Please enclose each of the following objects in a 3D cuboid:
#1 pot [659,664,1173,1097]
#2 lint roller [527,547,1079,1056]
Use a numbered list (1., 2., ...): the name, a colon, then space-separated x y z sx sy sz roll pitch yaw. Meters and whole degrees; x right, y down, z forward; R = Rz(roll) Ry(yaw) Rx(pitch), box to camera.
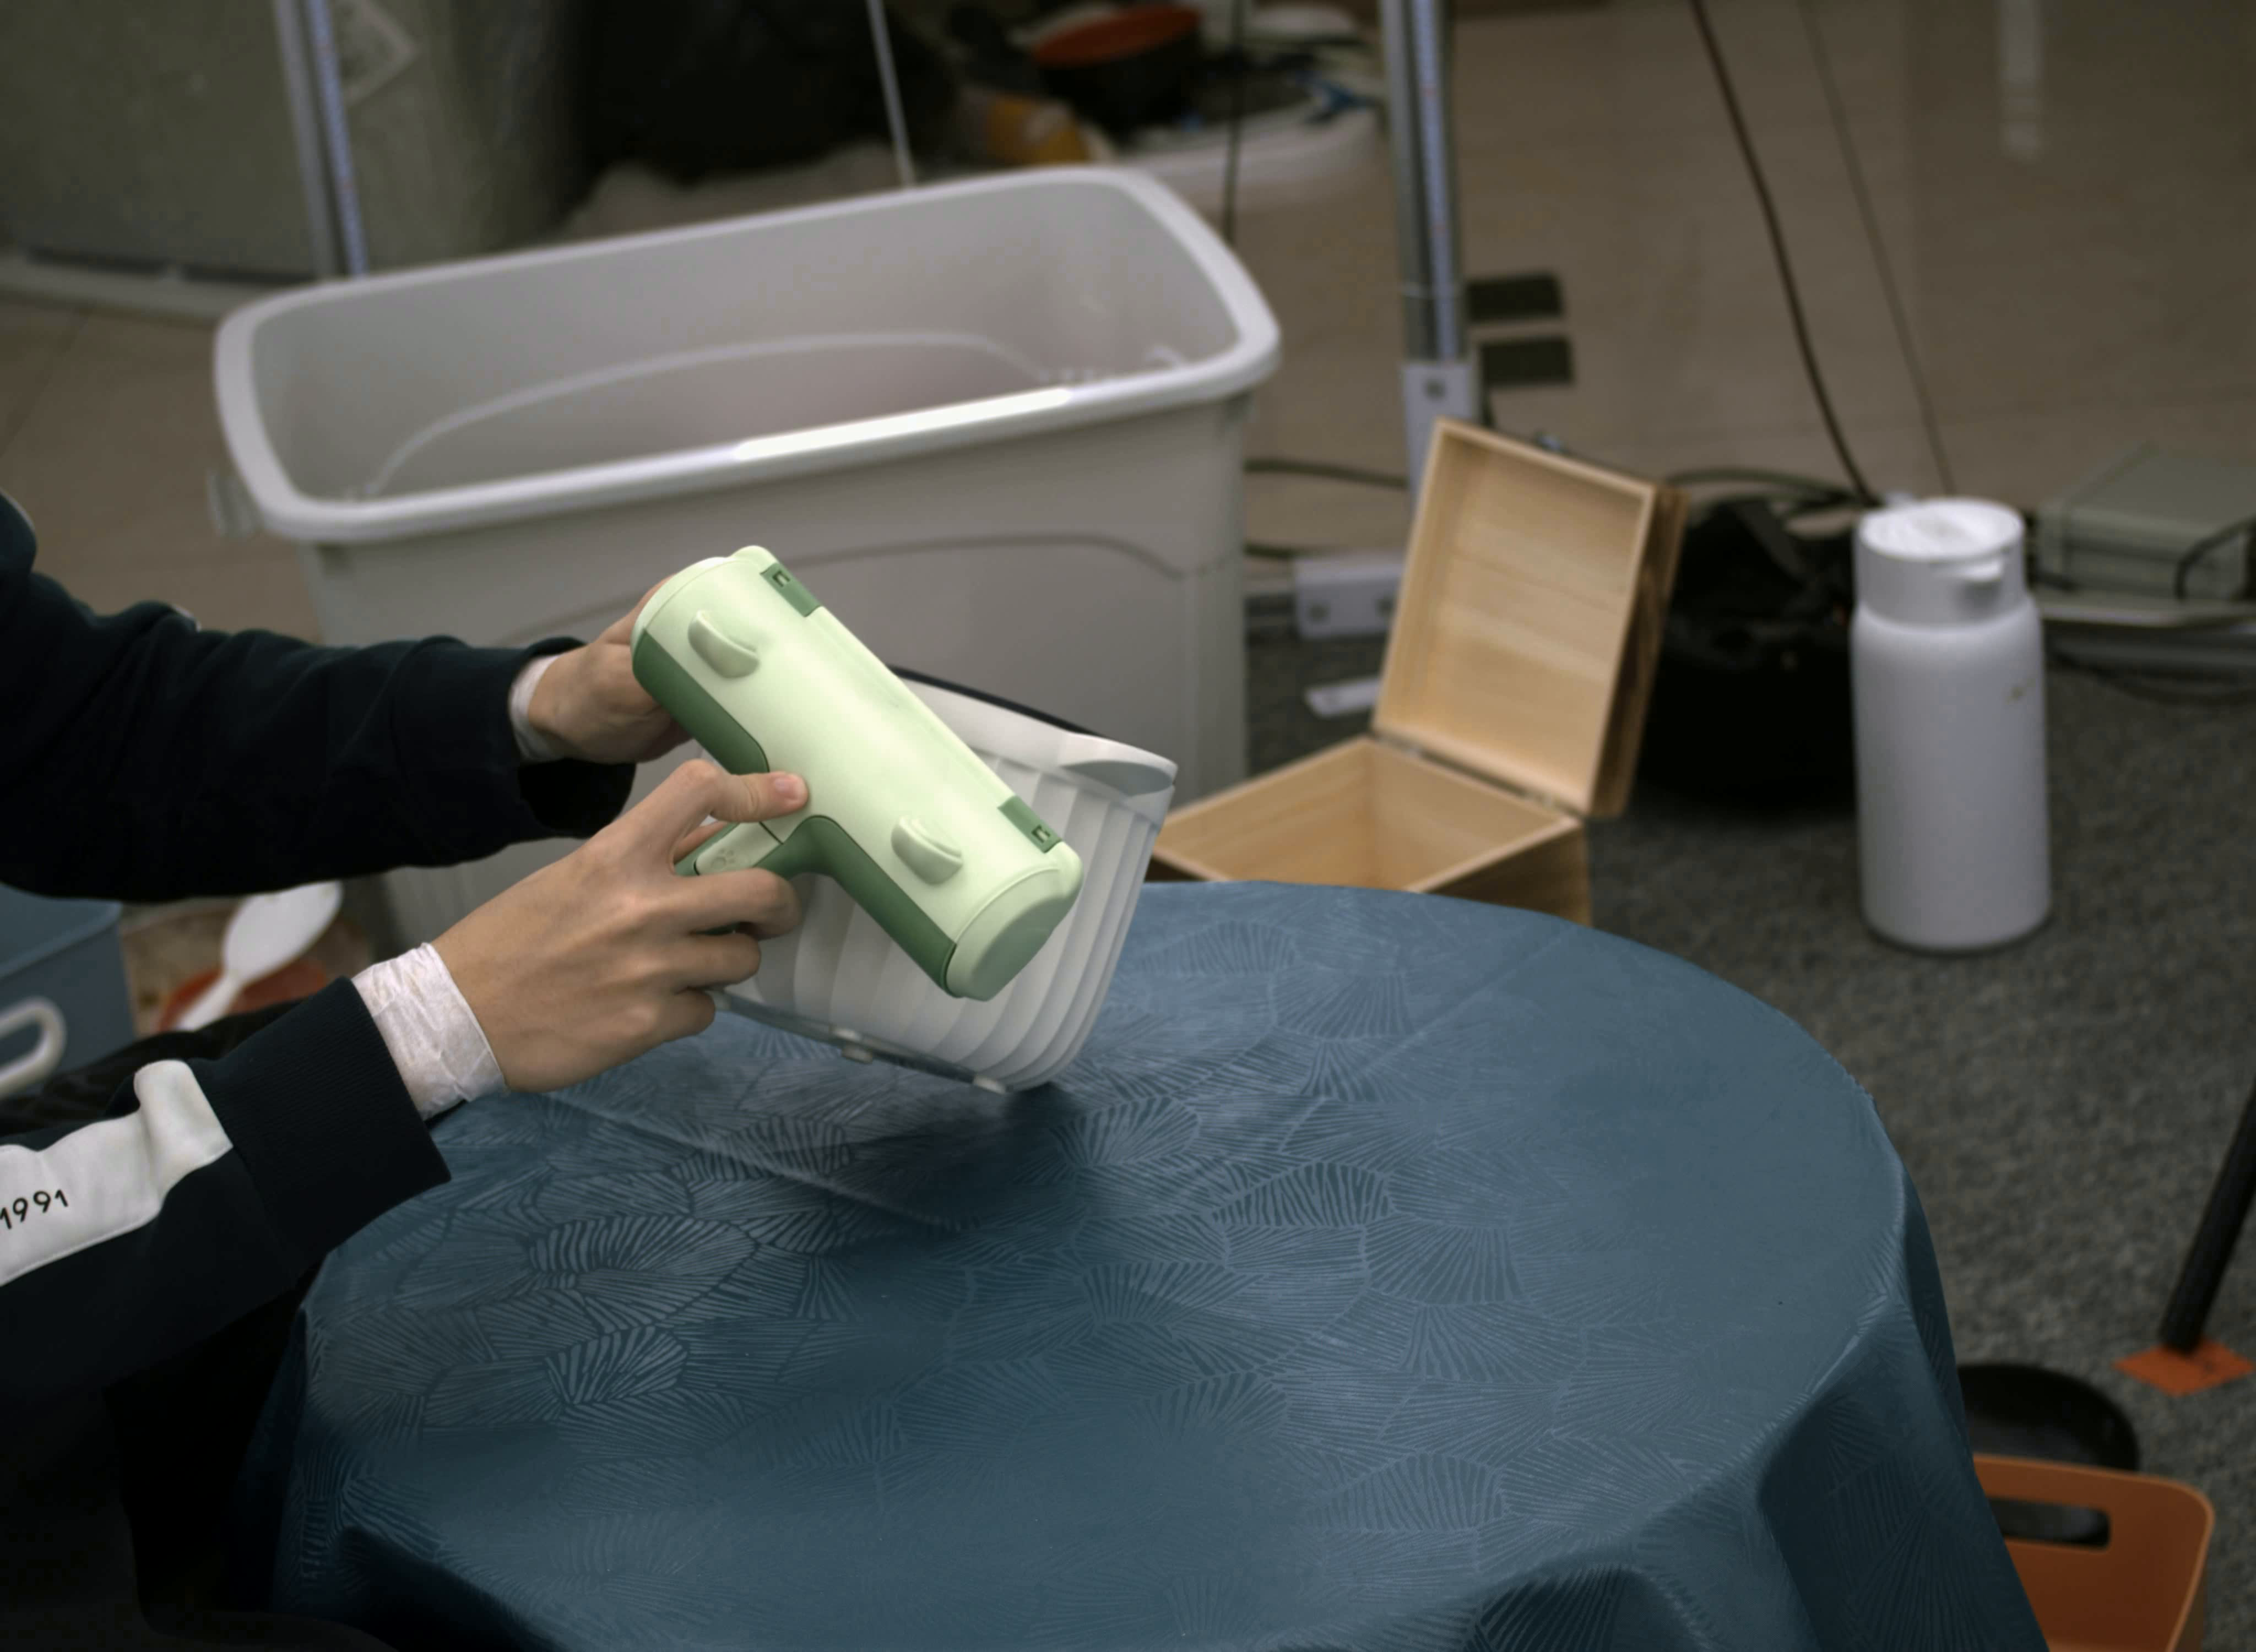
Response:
1. pot: -0.086 0.022 2.174 0.239 0.142 0.191 12 -4 45
2. lint roller: -0.146 0.010 2.031 0.182 0.083 0.197 -38 68 -17
